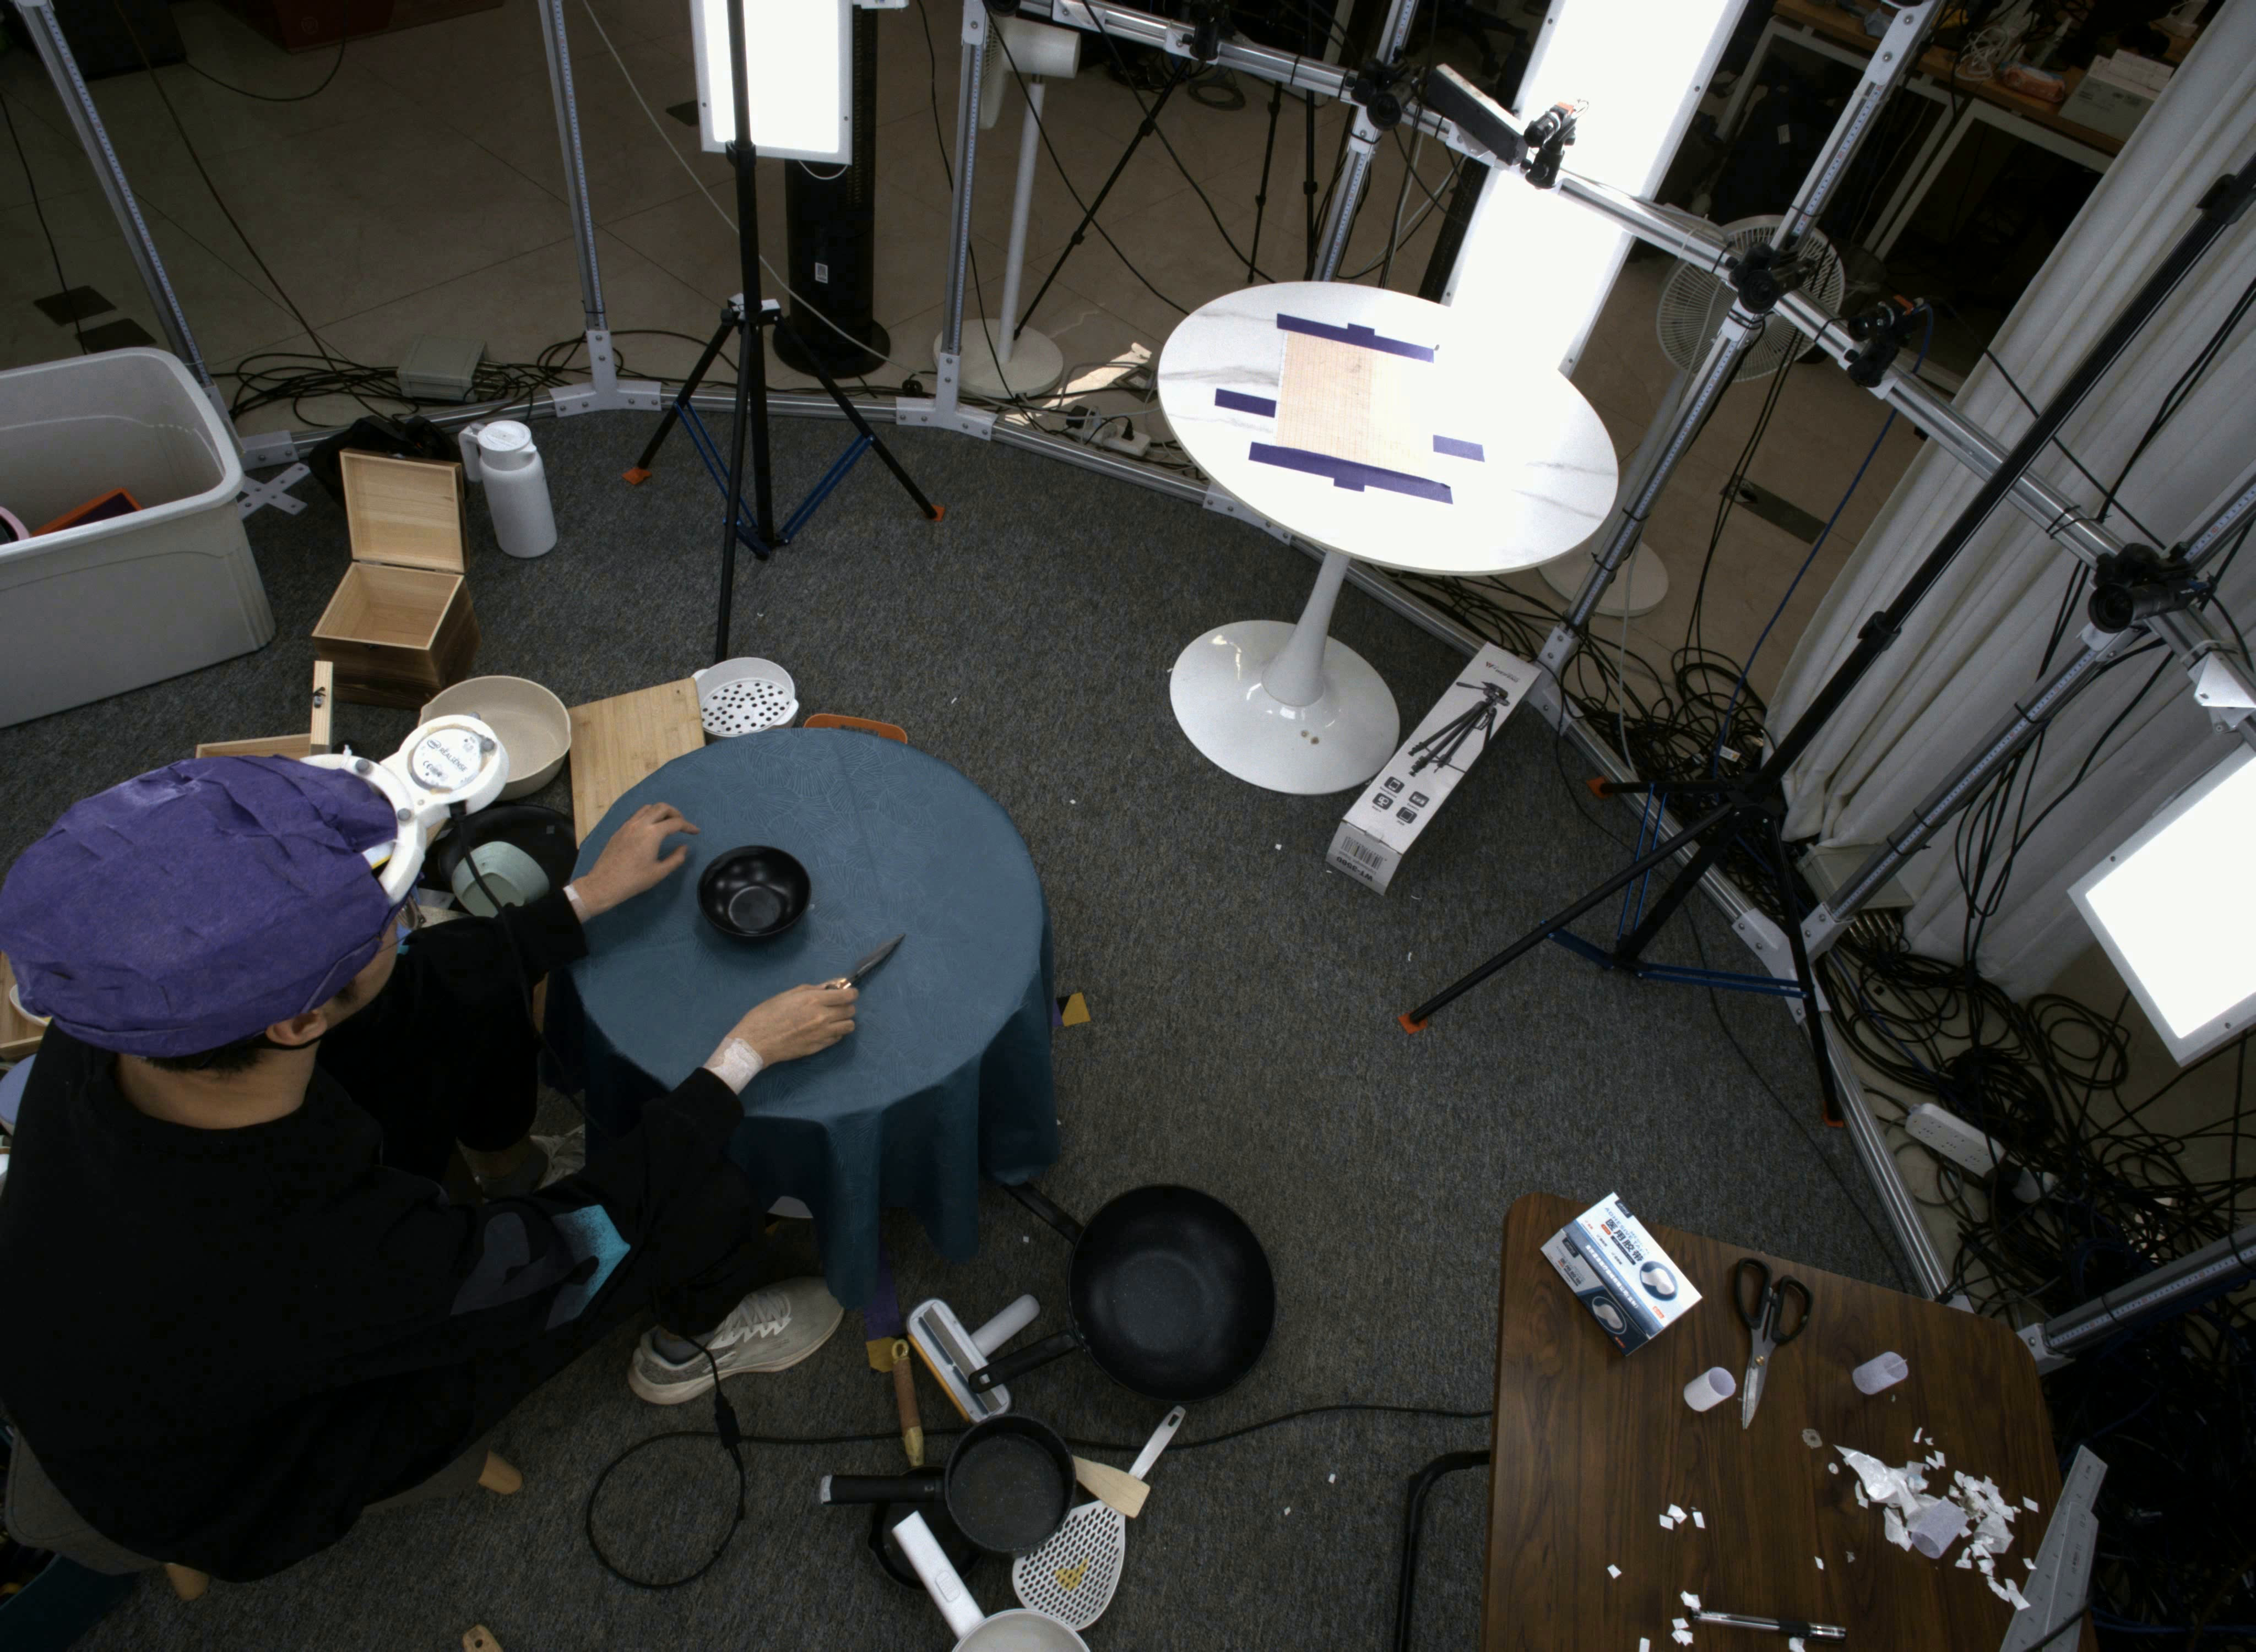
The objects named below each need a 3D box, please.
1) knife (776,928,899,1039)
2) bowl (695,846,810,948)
[{"bbox_3d":[-0.345,0.184,1.571,0.025,0.018,0.225,22,39,23],"label":"knife"},{"bbox_3d":[-0.464,0.094,1.604,0.140,0.050,0.138,7,57,-9],"label":"bowl"}]
